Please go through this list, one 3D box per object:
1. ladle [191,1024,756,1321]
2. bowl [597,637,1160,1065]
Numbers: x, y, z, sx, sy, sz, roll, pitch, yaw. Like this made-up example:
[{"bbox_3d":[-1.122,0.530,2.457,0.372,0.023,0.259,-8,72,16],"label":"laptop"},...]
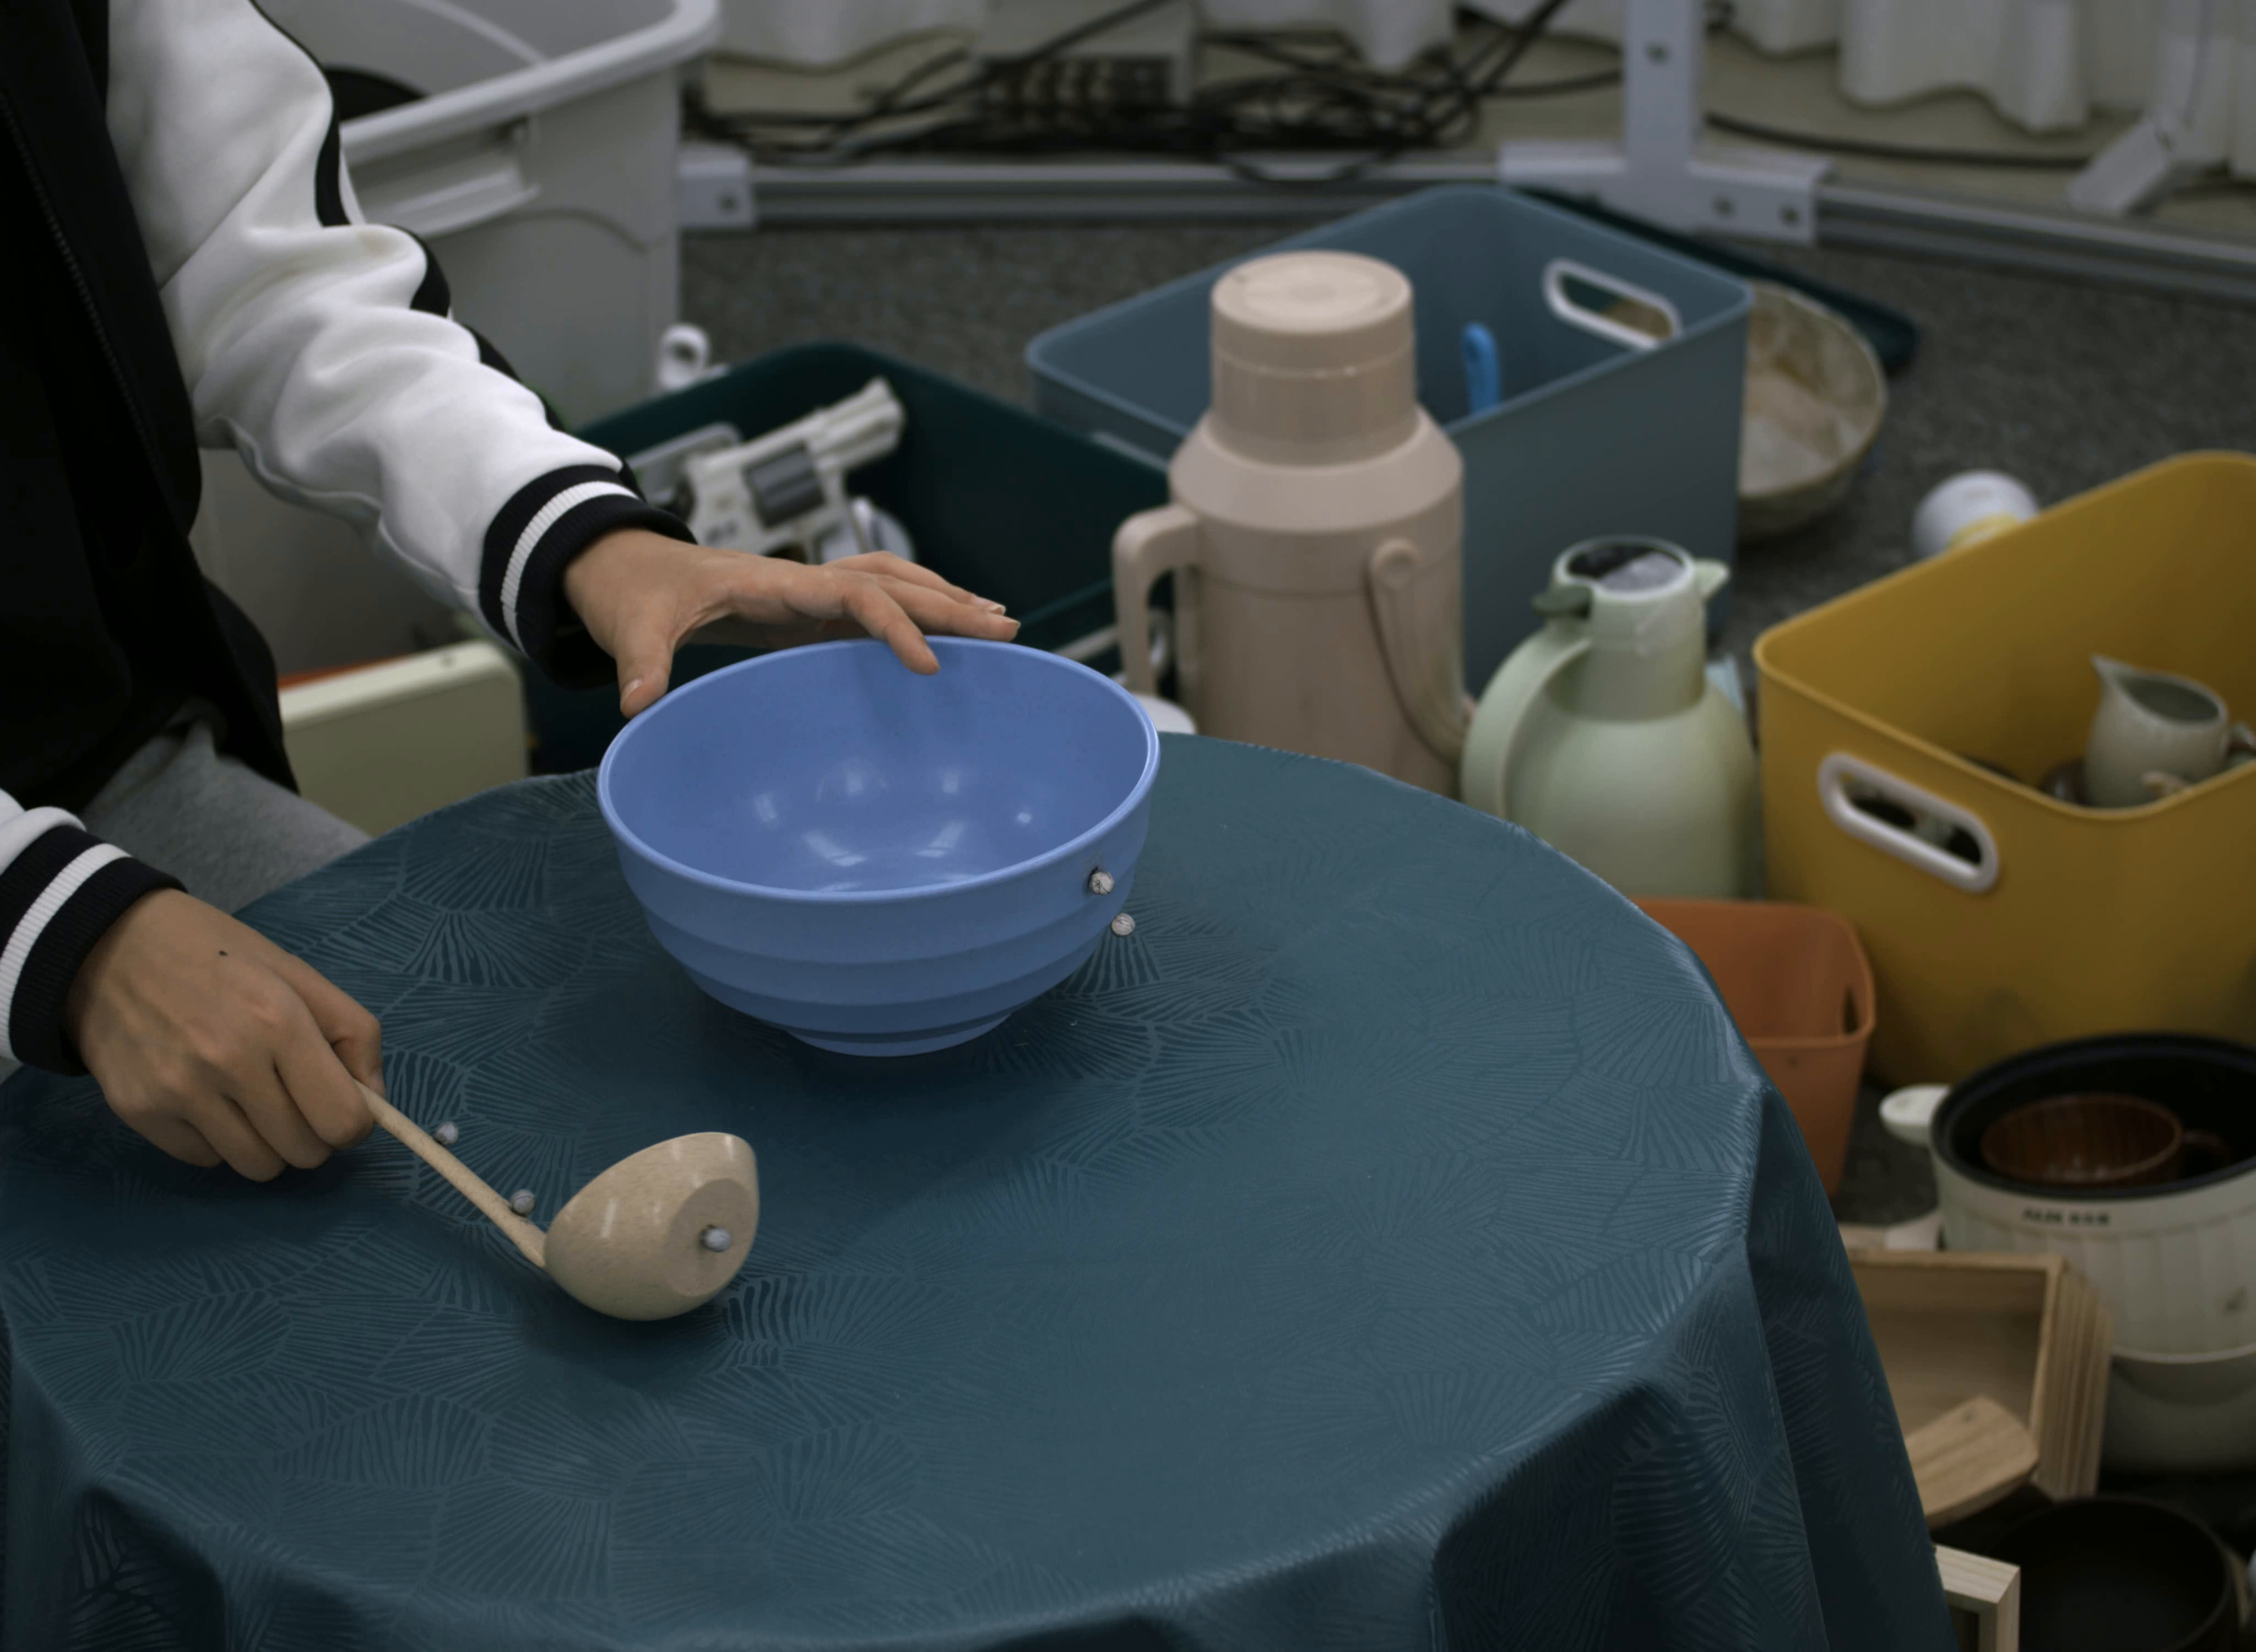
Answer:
[{"bbox_3d":[-0.220,0.087,1.855,0.254,0.072,0.072,29,11,39],"label":"ladle"},{"bbox_3d":[-0.083,0.021,1.970,0.195,0.094,0.199,-3,28,2],"label":"bowl"}]
